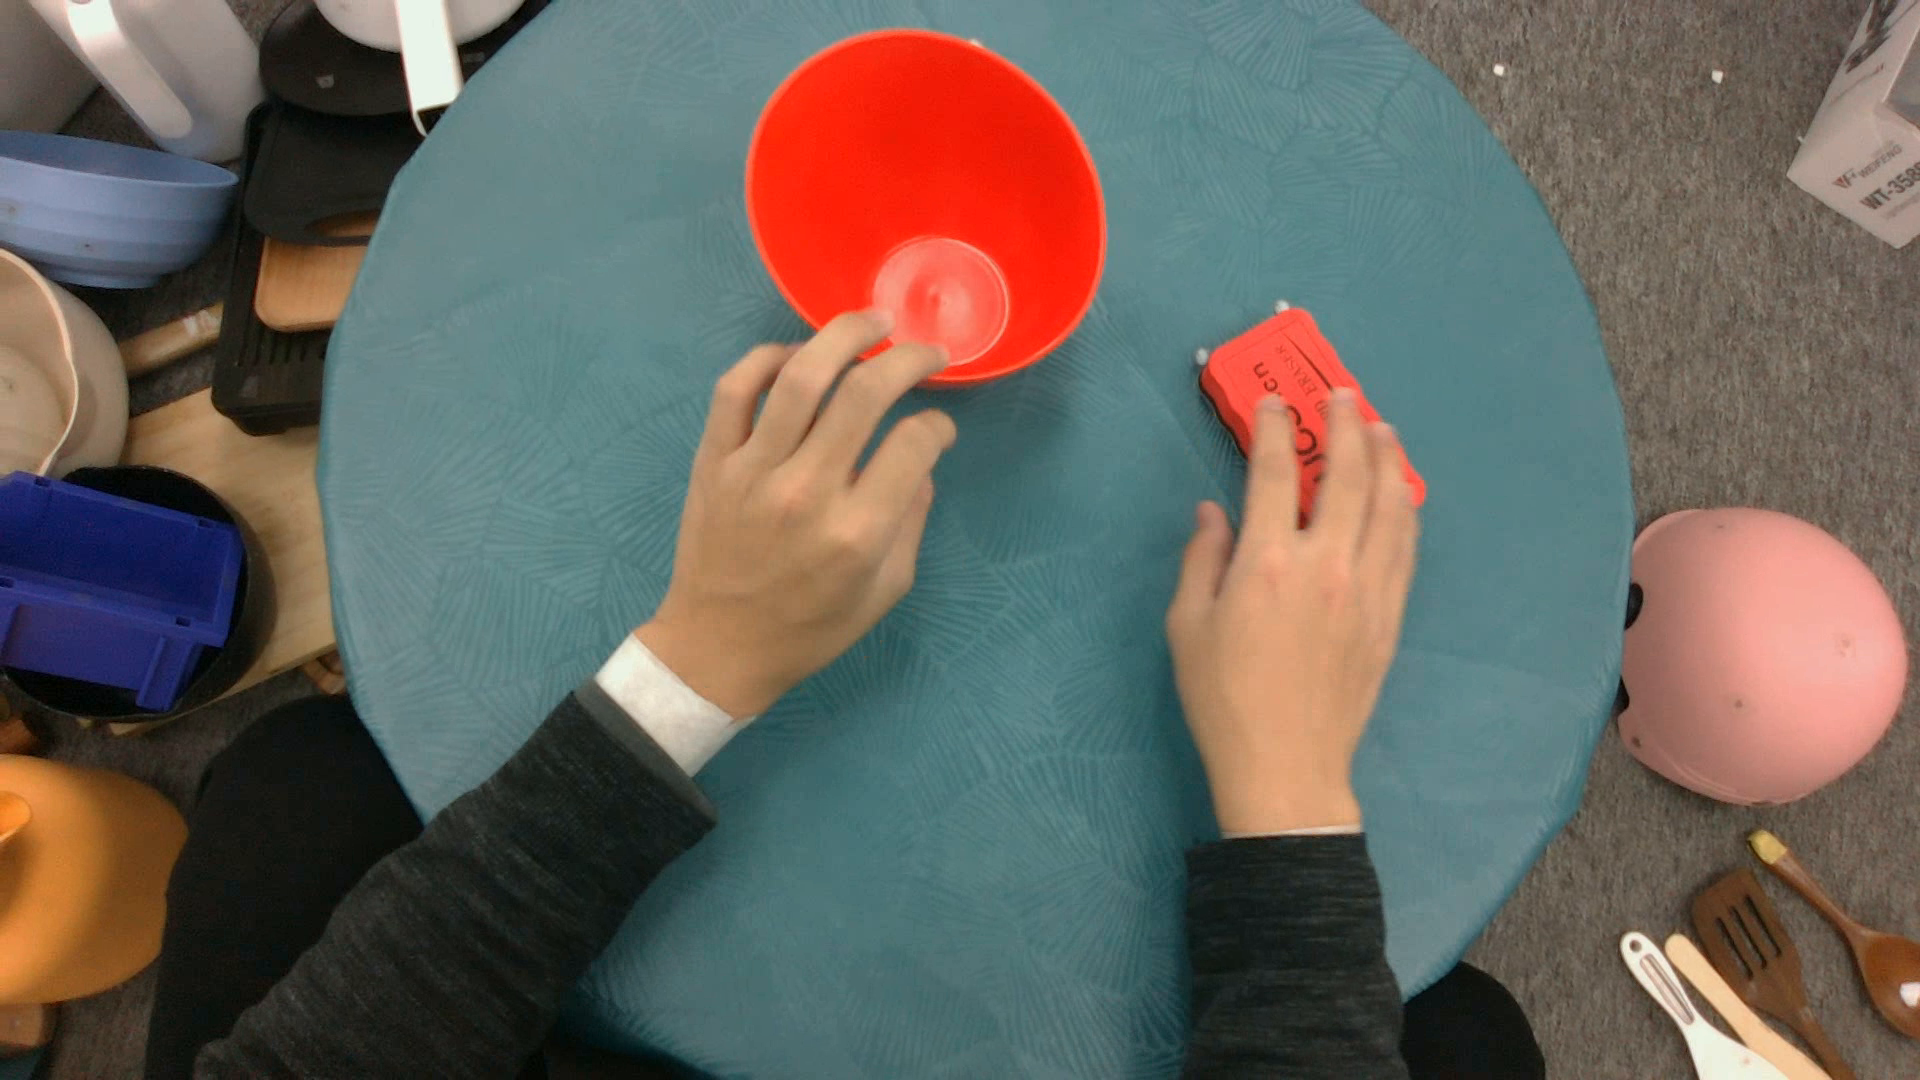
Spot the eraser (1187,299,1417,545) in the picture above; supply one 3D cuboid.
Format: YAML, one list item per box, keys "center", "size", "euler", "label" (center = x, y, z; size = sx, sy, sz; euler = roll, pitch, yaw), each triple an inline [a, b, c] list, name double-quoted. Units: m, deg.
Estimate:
- center: [0.156, -0.055, 0.634]
  size: [0.059, 0.023, 0.108]
  euler: [-30, 80, -15]
  label: "eraser"

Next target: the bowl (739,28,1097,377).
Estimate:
- center: [-0.019, -0.130, 0.596]
  size: [0.148, 0.104, 0.148]
  euler: [2, 75, -7]
  label: "bowl"
